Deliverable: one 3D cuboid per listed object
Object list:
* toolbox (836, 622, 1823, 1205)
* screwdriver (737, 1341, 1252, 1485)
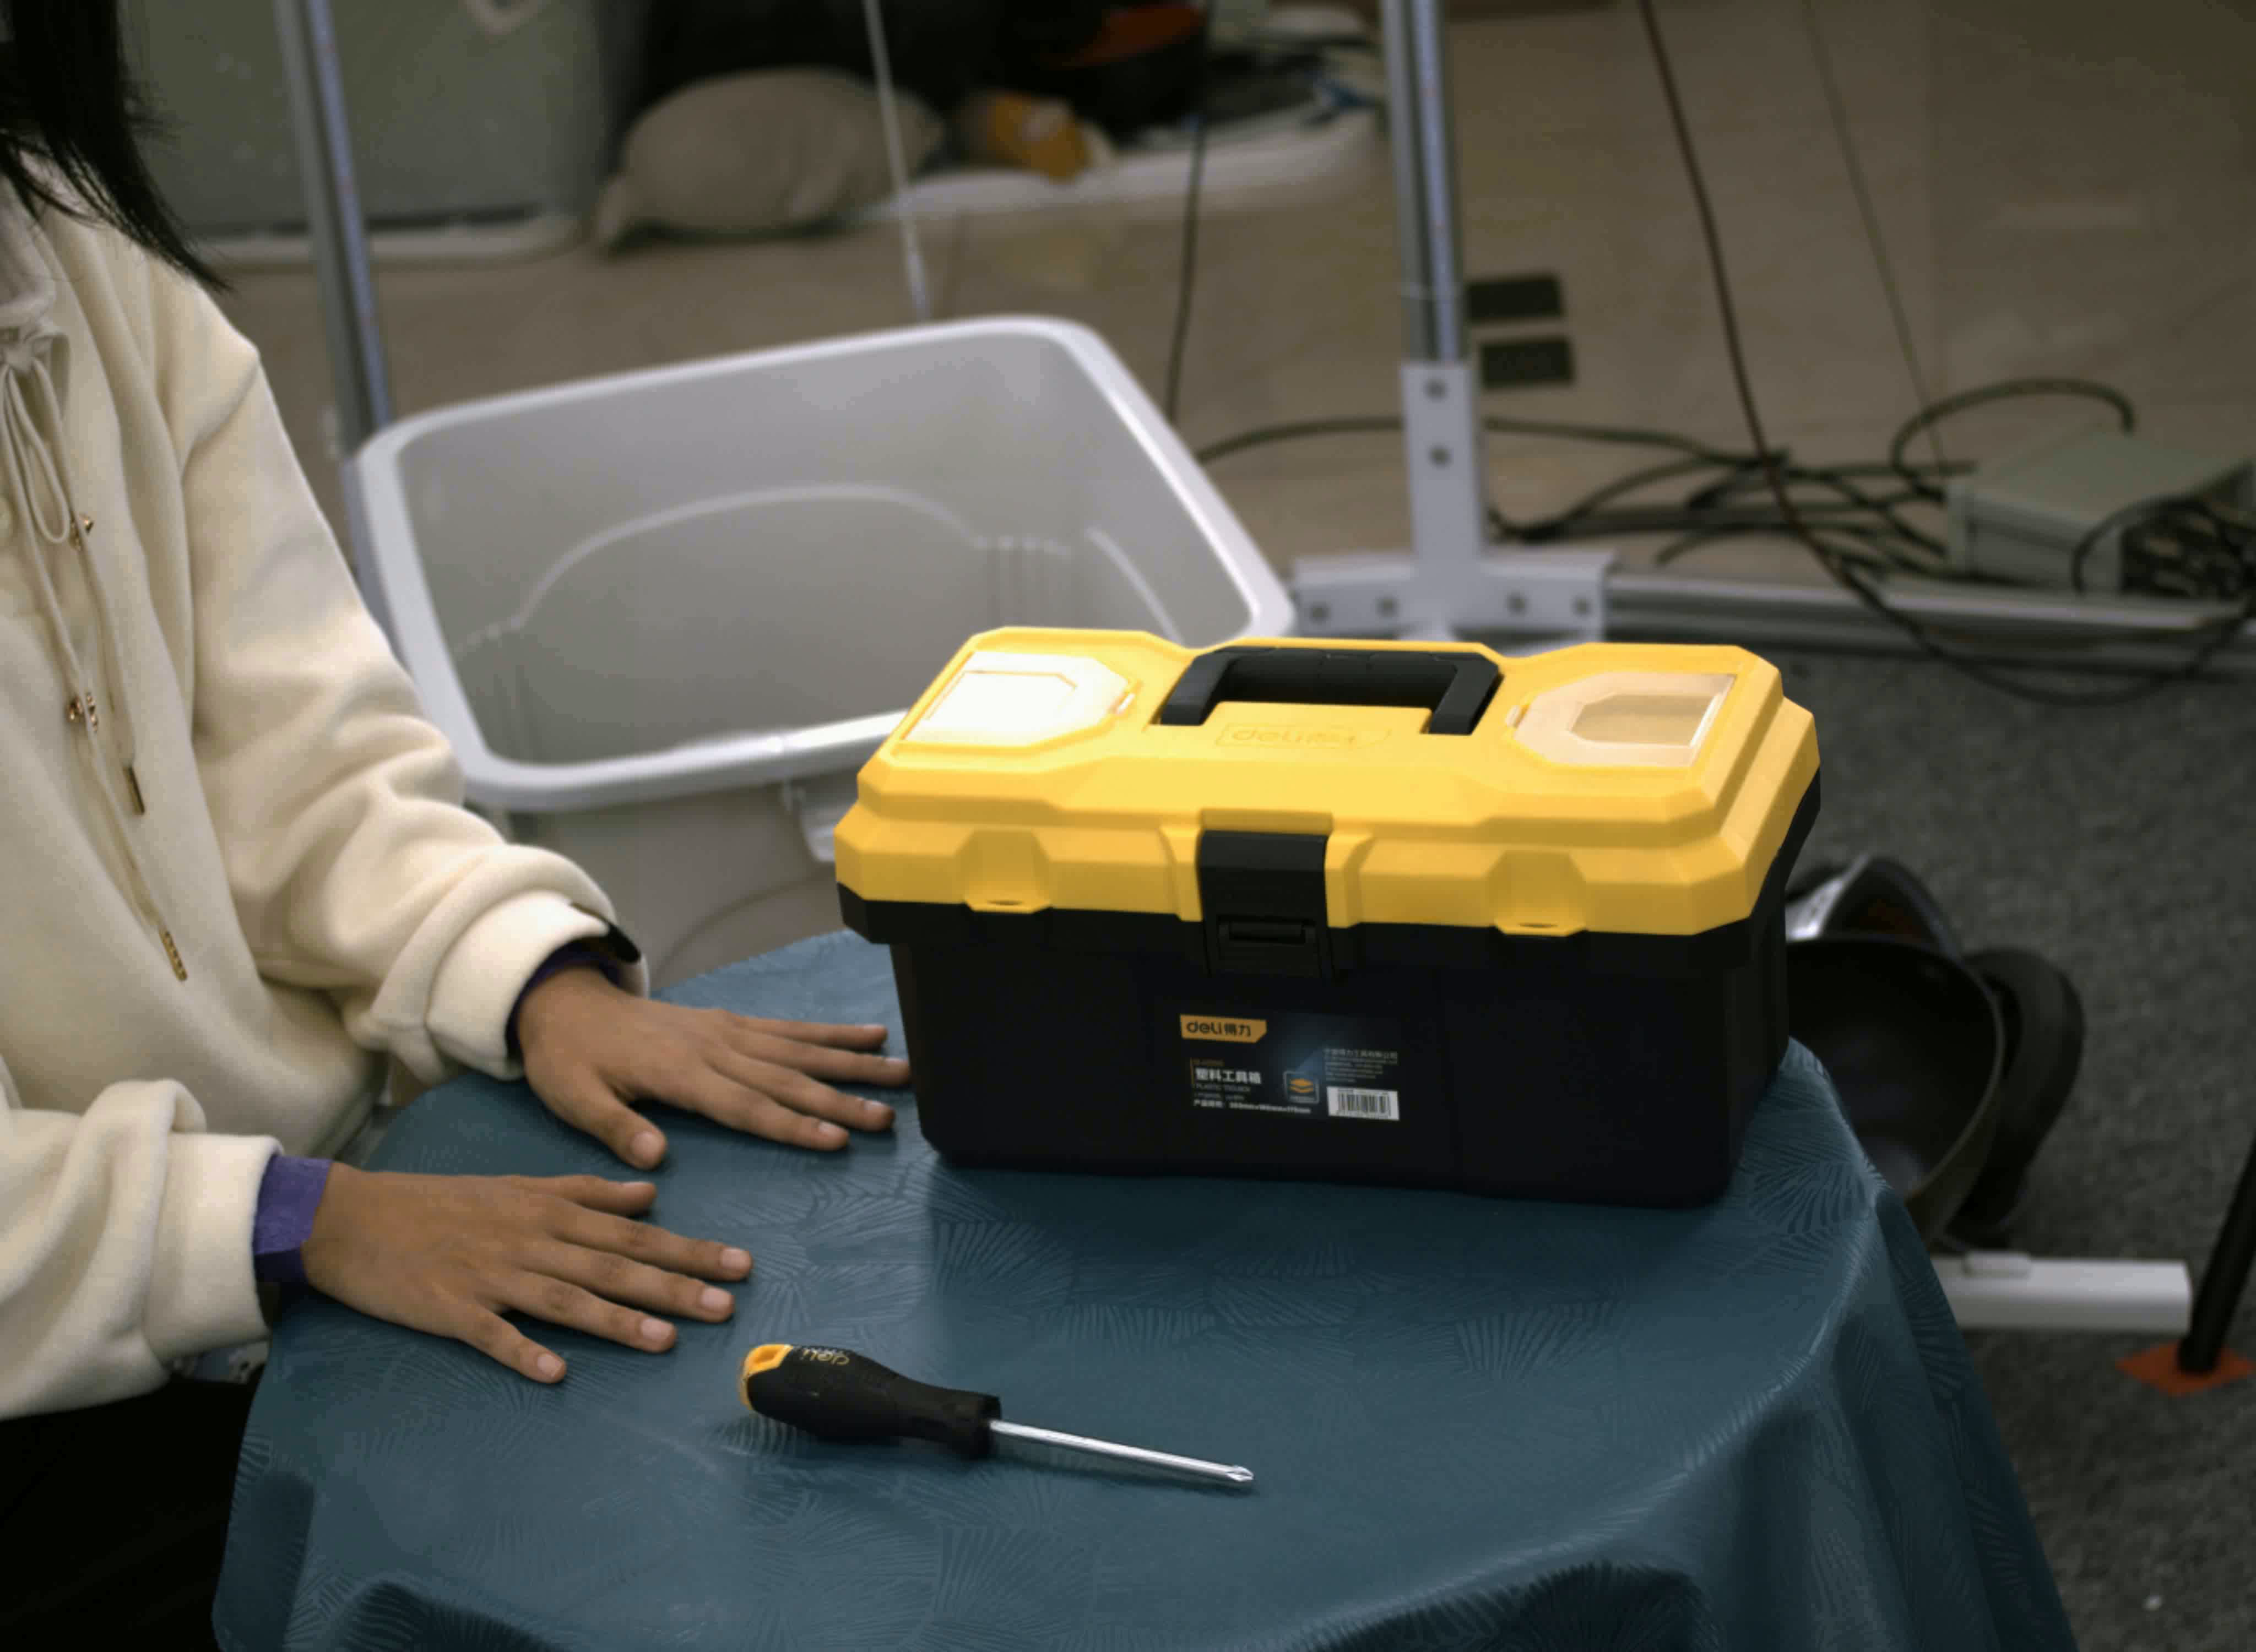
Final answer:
[{"bbox_3d":[0.079,0.032,2.149,0.350,0.175,0.179,3,27,19],"label":"toolbox"},{"bbox_3d":[-0.048,0.206,1.978,0.195,0.032,0.031,7,28,25],"label":"screwdriver"}]
